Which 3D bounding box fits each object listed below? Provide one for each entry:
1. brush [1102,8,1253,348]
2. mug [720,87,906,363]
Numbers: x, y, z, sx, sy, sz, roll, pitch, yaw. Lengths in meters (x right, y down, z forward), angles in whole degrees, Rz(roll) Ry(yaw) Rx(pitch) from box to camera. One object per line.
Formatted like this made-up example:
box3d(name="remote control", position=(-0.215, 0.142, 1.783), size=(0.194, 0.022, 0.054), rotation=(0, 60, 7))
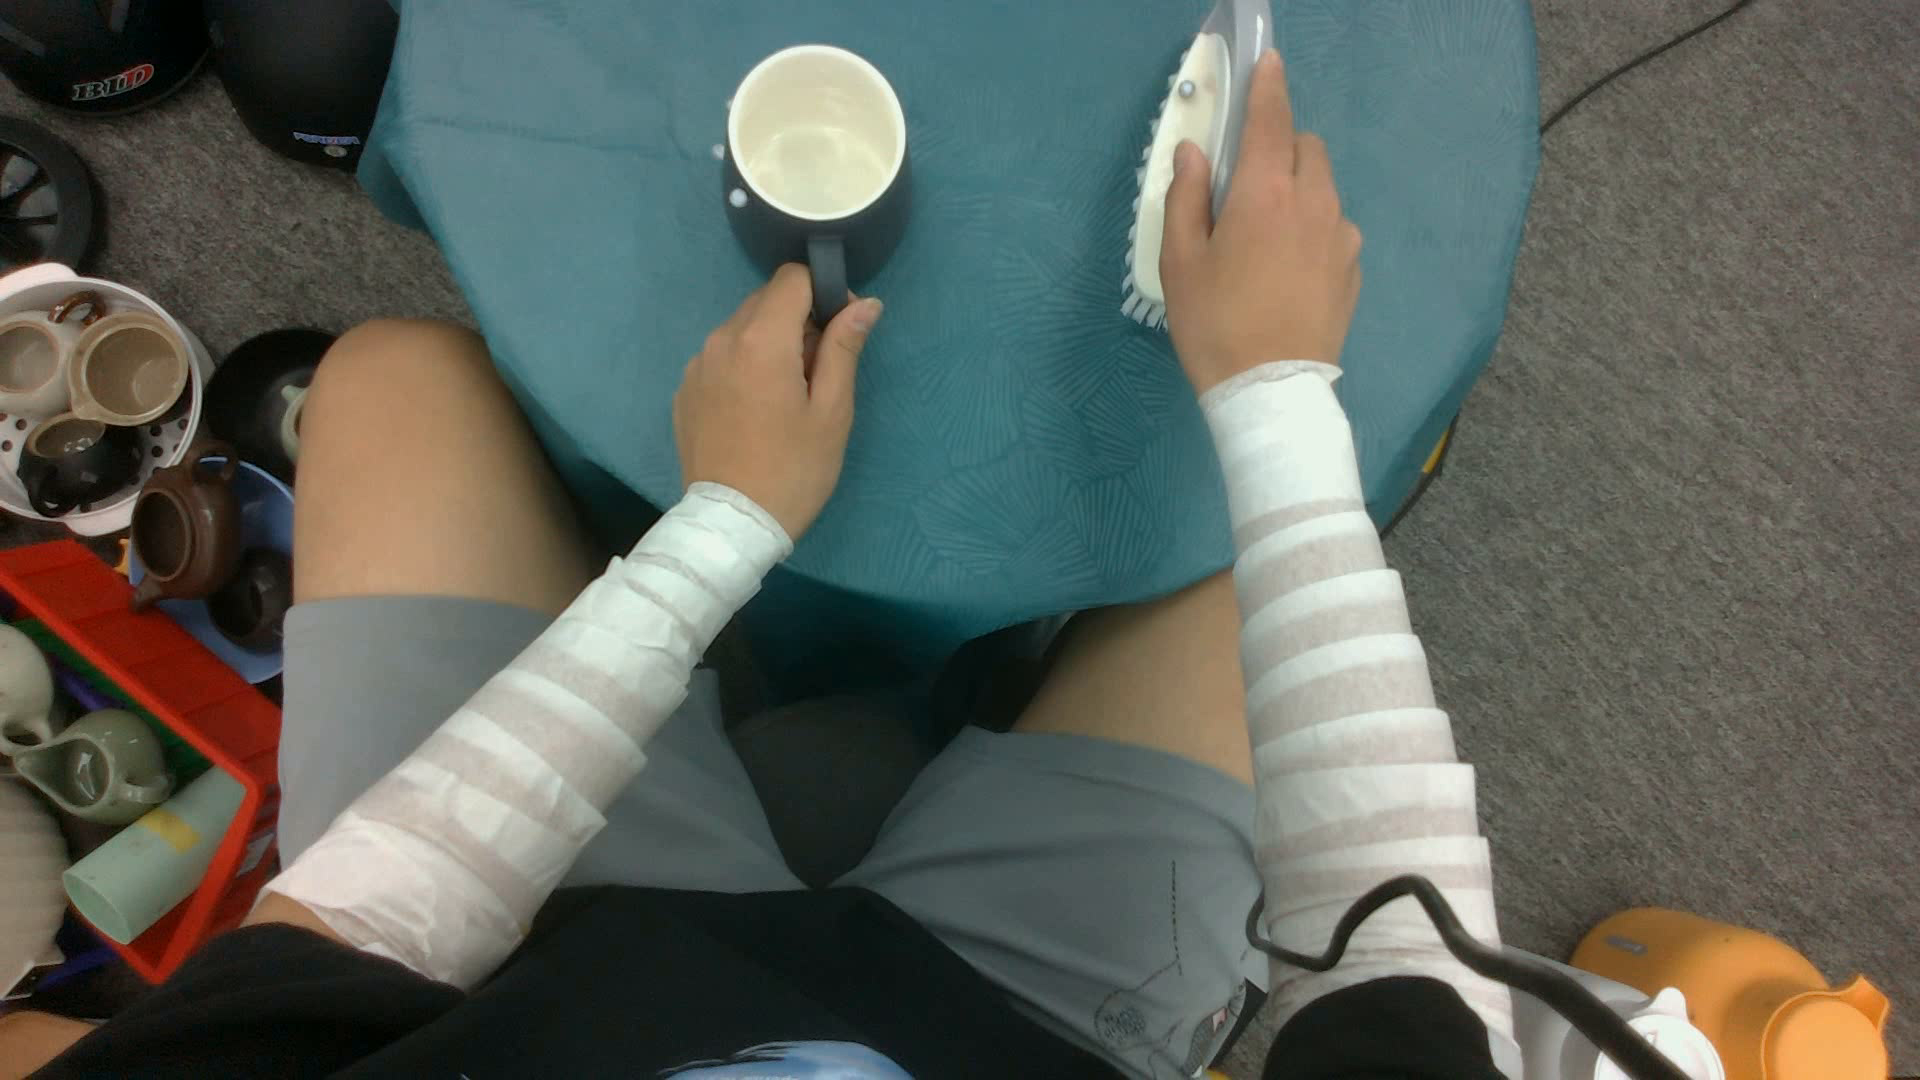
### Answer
box3d(name="brush", position=(0.116, -0.191, 0.680), size=(0.061, 0.094, 0.176), rotation=(12, 78, -7))
box3d(name="mug", position=(-0.070, -0.148, 0.670), size=(0.093, 0.090, 0.123), rotation=(-5, 82, -7))
